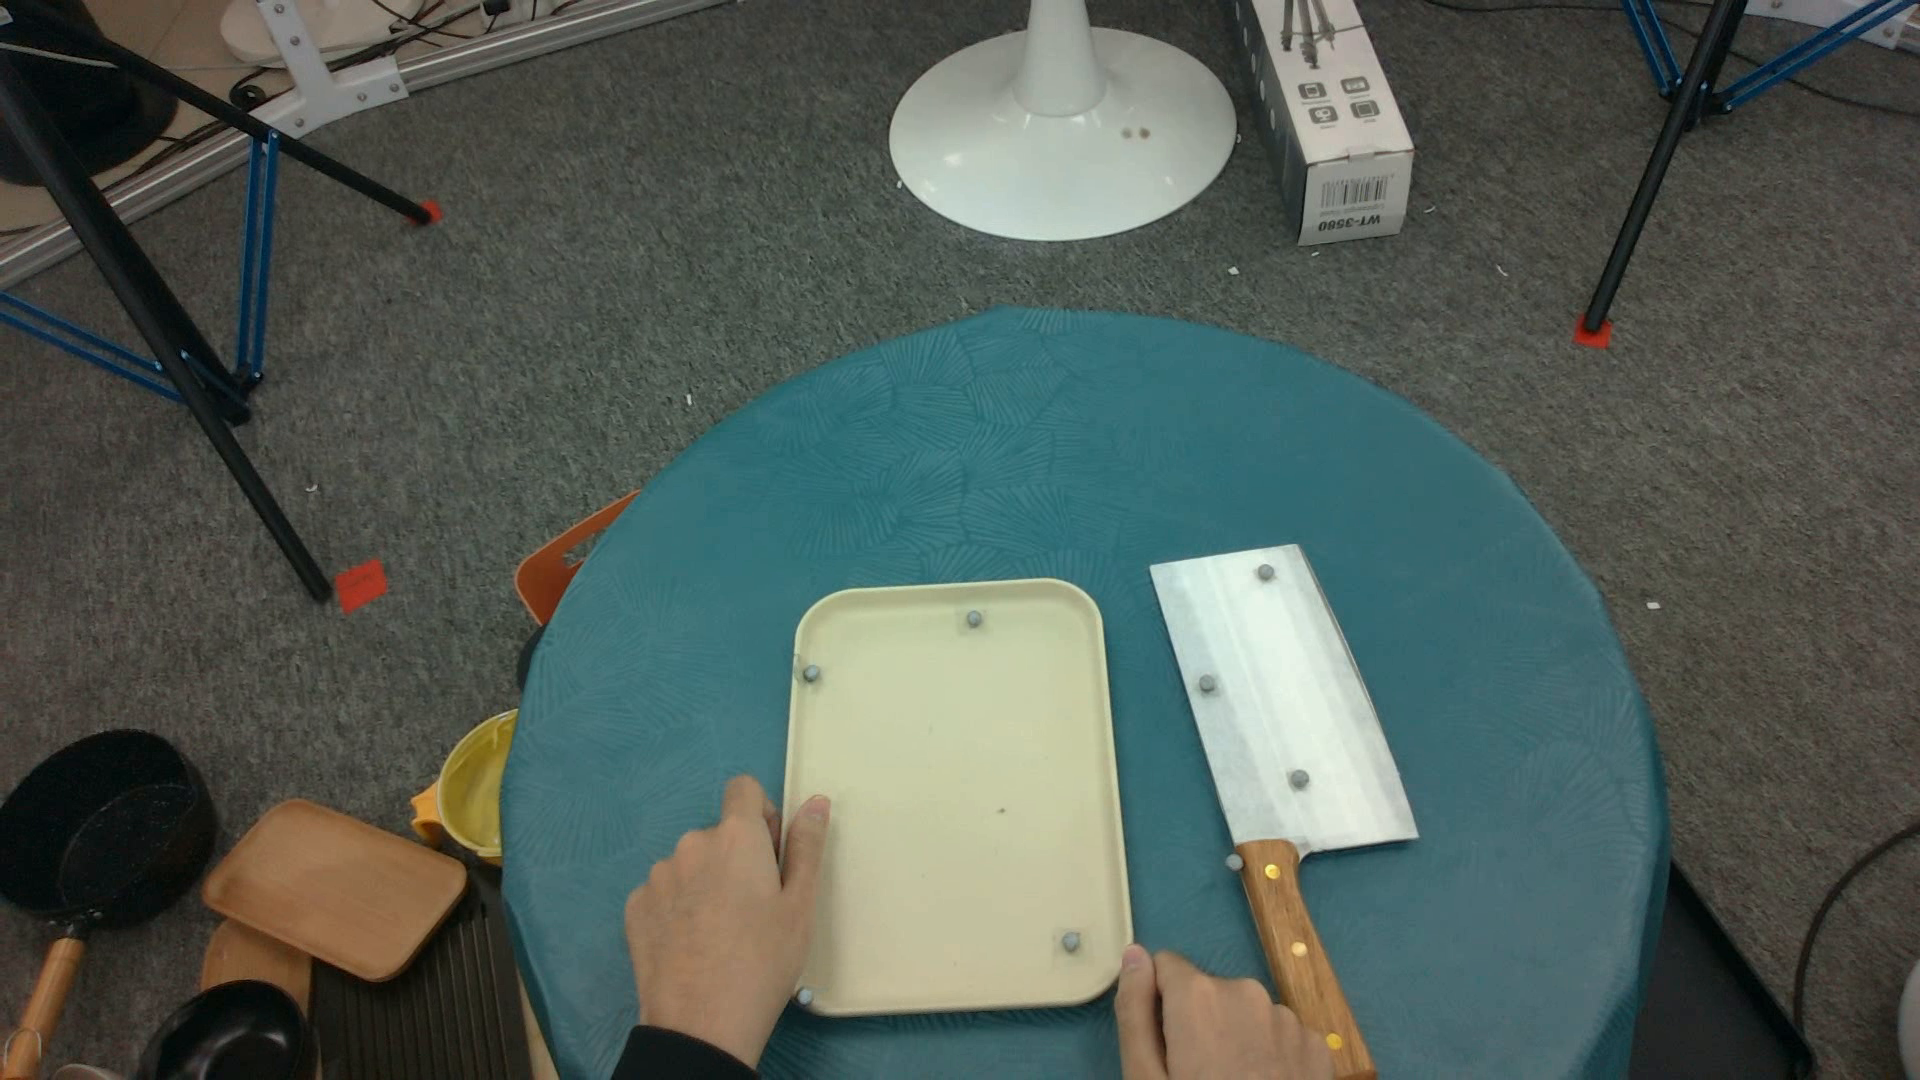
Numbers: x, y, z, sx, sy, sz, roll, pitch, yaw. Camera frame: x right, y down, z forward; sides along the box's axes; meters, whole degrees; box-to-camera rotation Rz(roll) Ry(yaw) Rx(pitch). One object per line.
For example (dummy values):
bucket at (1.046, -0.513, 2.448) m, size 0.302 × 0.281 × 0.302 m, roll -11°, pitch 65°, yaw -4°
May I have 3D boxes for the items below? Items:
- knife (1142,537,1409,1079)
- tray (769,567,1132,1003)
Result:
knife at (0.169, 0.116, 0.691) m, size 0.093 × 0.021 × 0.307 m, roll -8°, pitch 49°, yaw -4°
tray at (-0.007, 0.116, 0.702) m, size 0.171 × 0.017 × 0.241 m, roll -3°, pitch 52°, yaw 1°
